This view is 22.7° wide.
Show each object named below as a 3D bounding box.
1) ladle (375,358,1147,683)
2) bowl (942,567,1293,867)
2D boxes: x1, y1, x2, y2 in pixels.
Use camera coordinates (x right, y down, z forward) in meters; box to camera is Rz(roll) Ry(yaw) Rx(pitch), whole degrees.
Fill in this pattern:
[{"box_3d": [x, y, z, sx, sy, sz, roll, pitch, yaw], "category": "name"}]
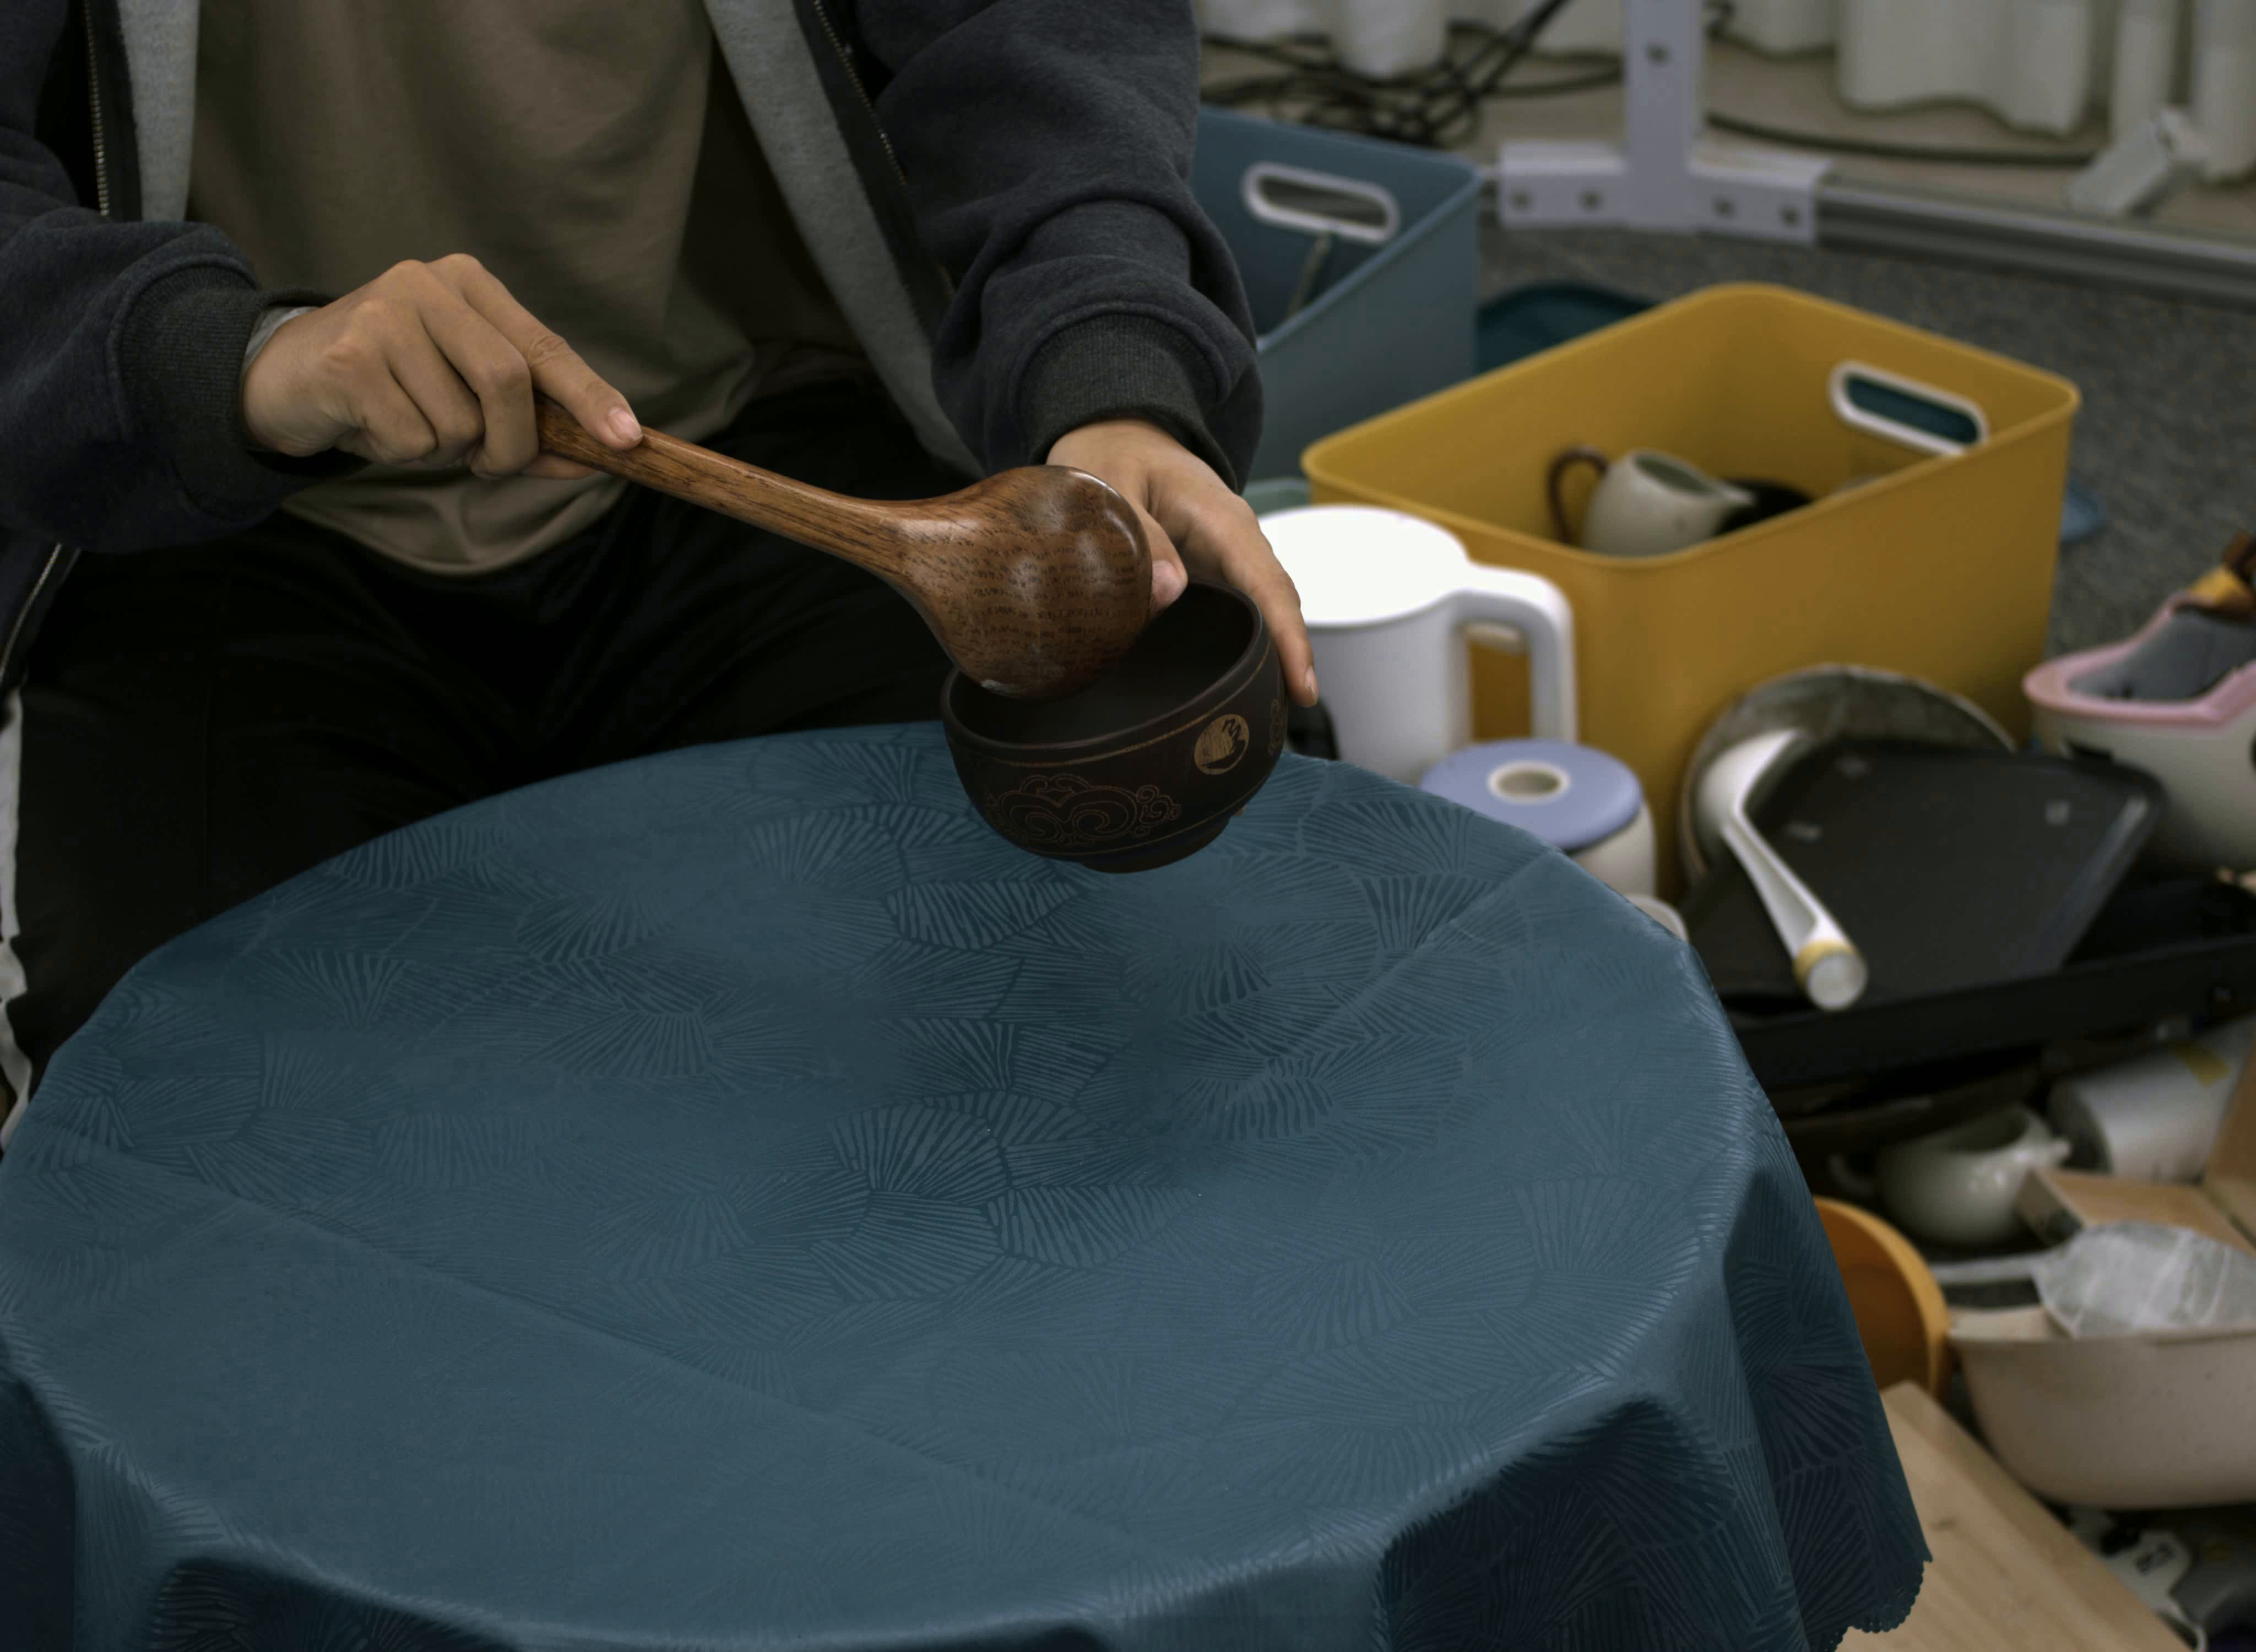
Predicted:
[{"box_3d": [-0.123, -0.117, 1.920, 0.273, 0.082, 0.077, 17, 3, 23], "category": "ladle"}, {"box_3d": [0.001, -0.030, 1.912, 0.117, 0.069, 0.120, -14, 27, 8], "category": "bowl"}]
